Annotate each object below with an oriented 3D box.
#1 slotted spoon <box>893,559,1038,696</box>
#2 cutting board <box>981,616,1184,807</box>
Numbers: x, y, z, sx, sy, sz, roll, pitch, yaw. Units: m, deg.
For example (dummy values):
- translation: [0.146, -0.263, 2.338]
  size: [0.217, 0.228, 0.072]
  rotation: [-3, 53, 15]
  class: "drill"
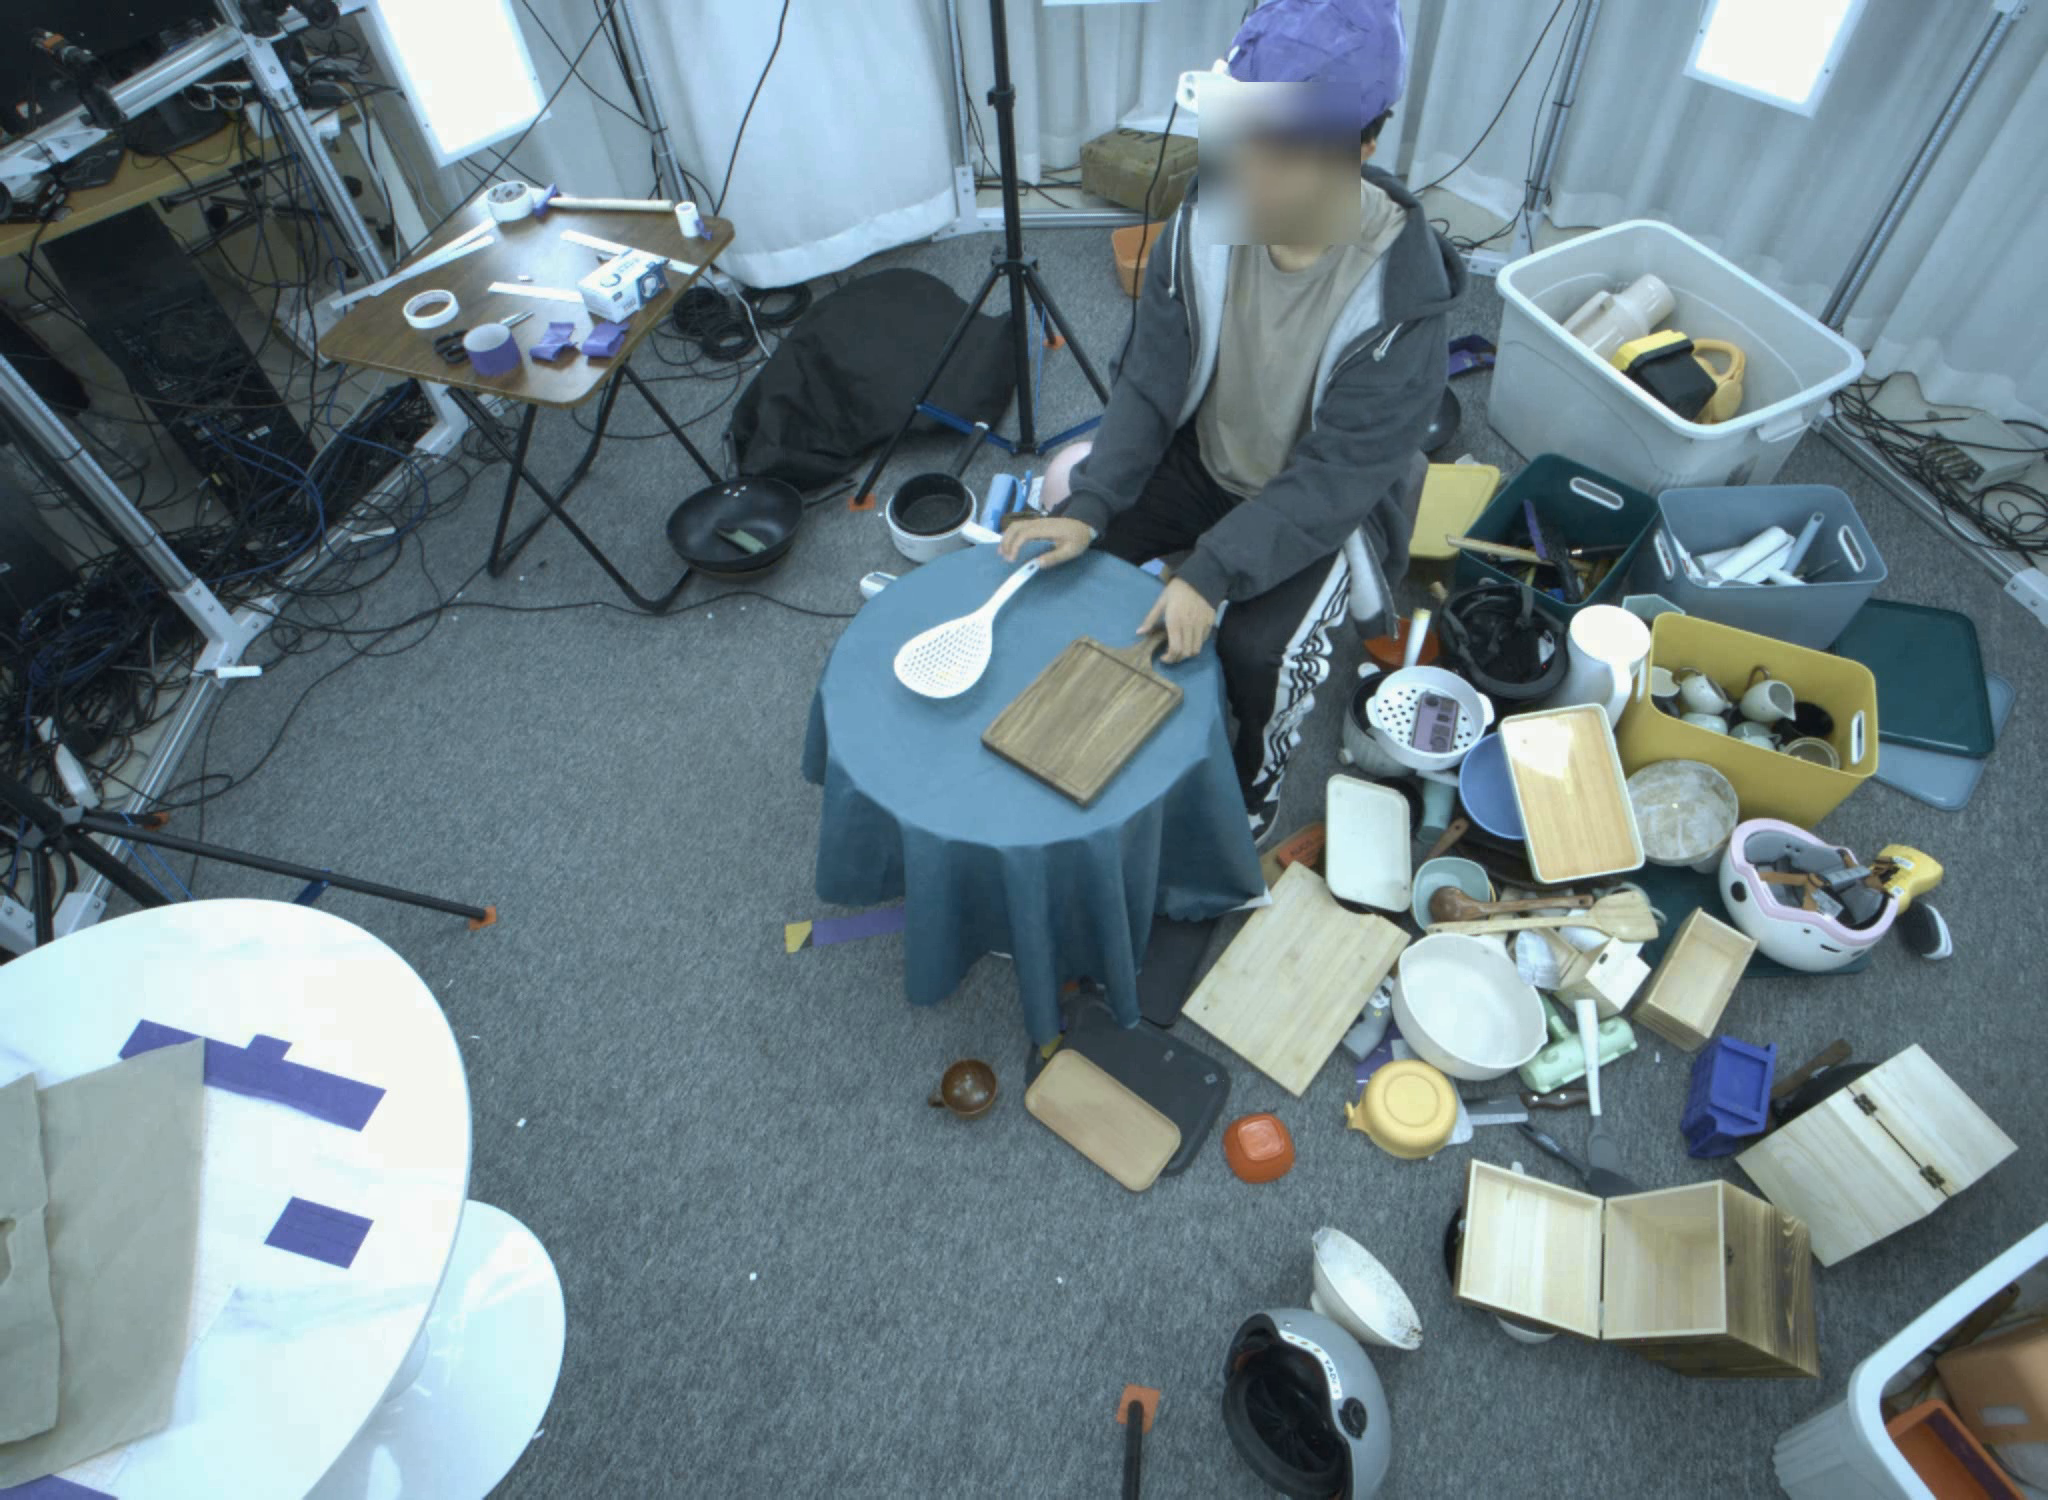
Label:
- translation: [-0.067, -0.200, 1.908]
  size: [0.135, 0.051, 0.349]
  rotation: [24, 59, 21]
  class: "slotted spoon"
- translation: [0.118, -0.082, 1.832]
  size: [0.198, 0.023, 0.354]
  rotation: [32, 62, 21]
  class: "cutting board"
